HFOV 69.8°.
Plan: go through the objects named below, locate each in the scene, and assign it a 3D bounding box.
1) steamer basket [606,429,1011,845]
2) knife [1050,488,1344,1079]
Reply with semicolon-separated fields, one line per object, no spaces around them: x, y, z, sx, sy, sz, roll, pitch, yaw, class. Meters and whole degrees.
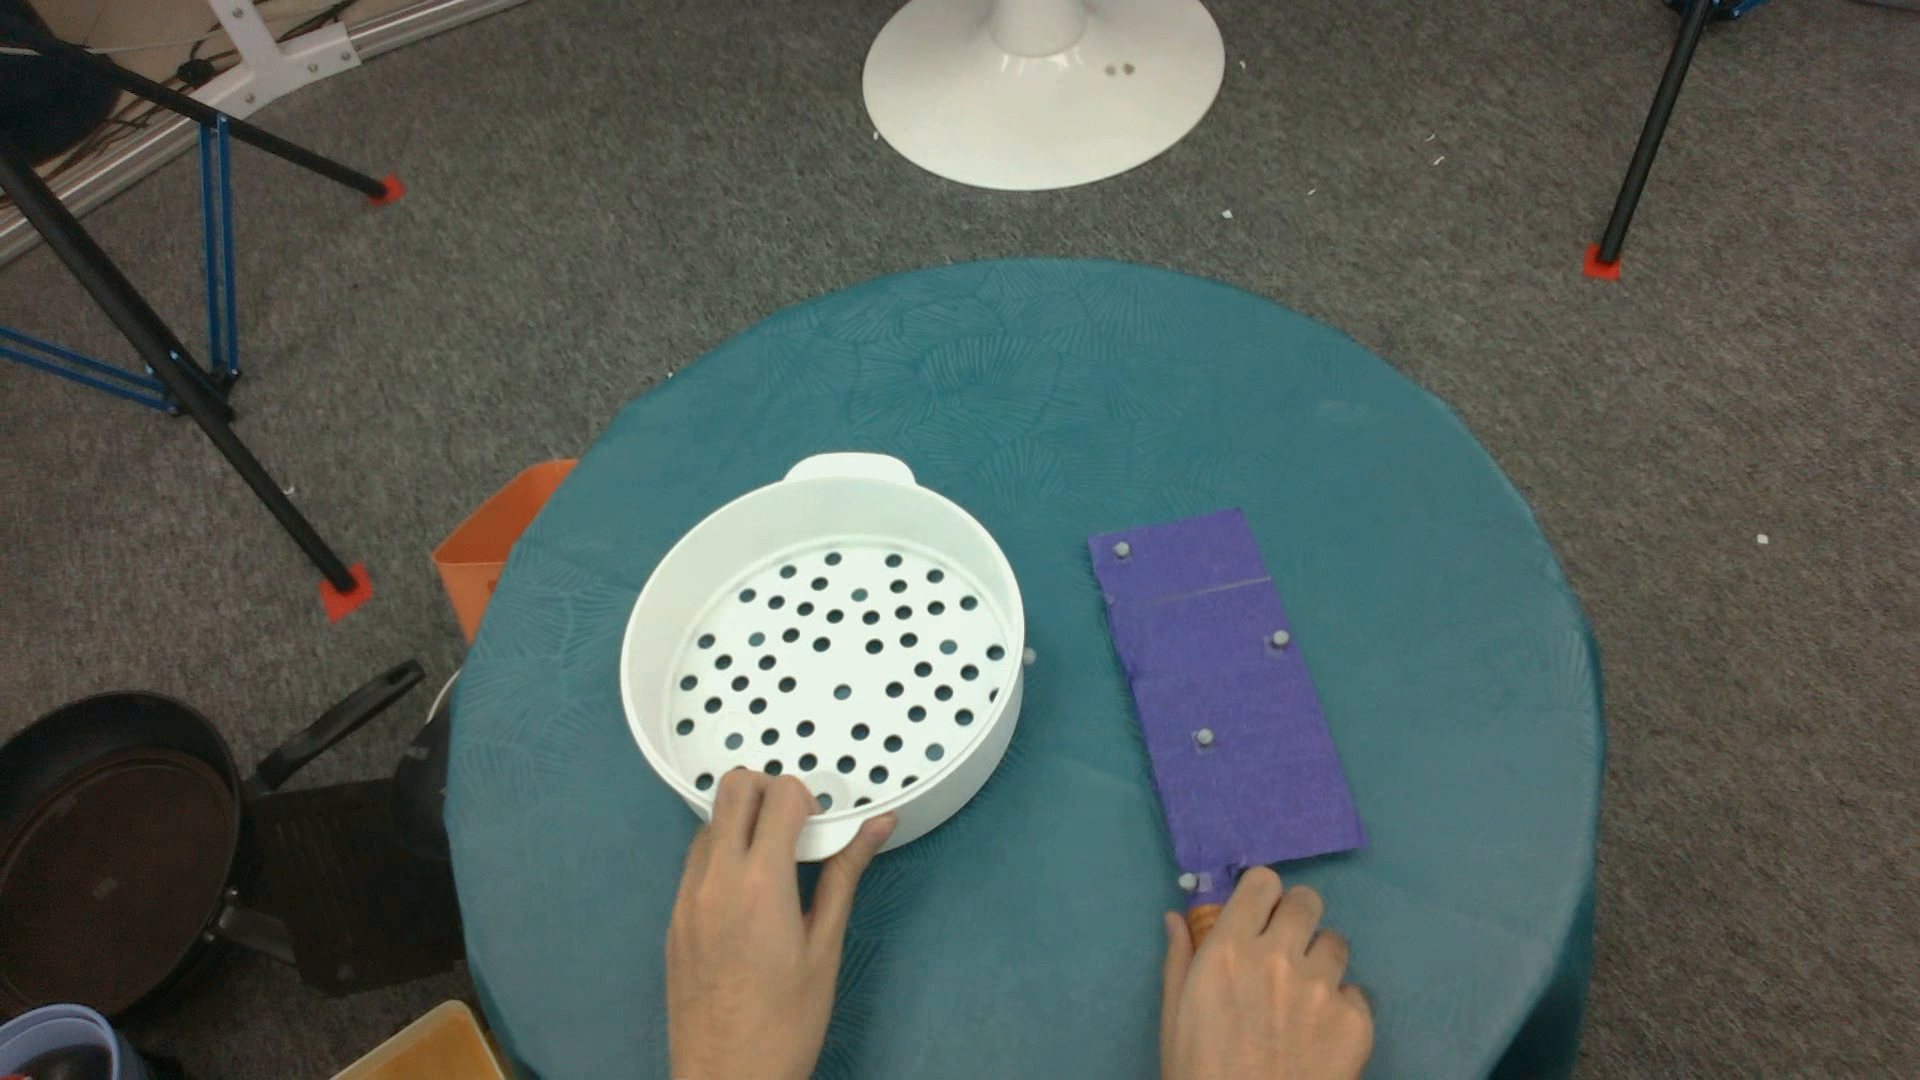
-0.074;0.053;0.705;0.202;0.069;0.231;3;59;10;steamer basket
0.130;0.098;0.673;0.104;0.032;0.316;-12;55;-3;knife
